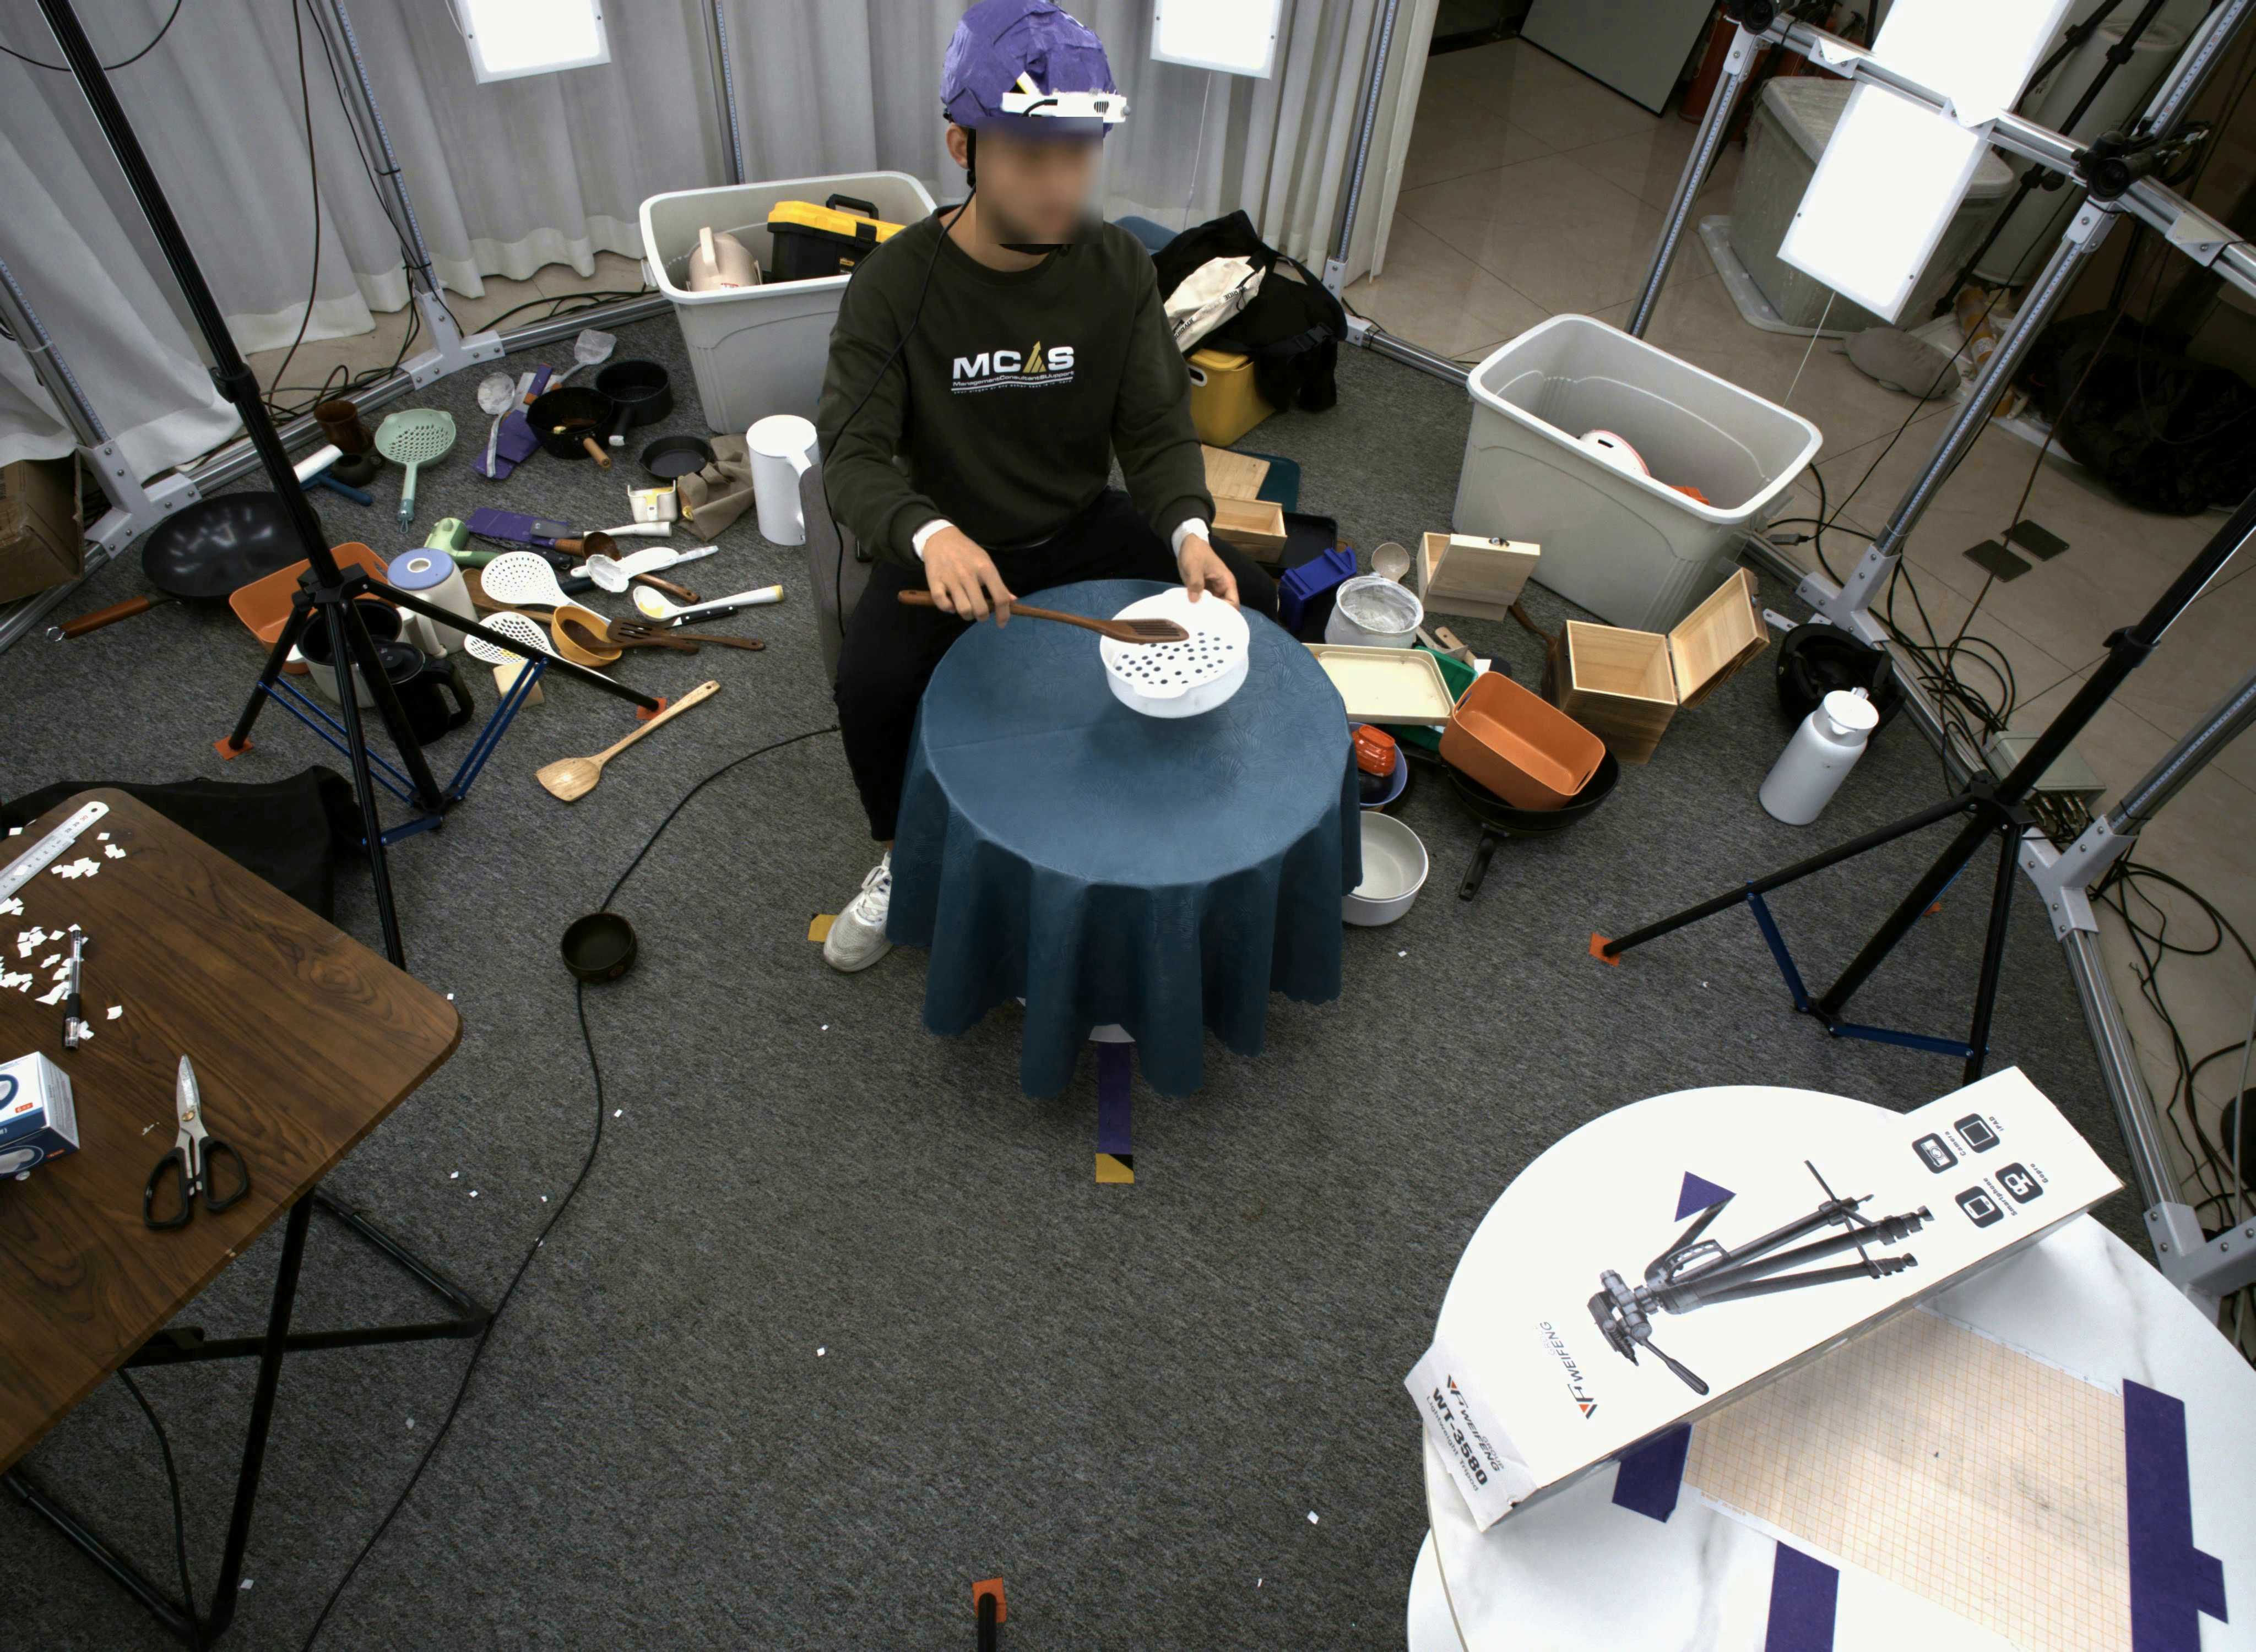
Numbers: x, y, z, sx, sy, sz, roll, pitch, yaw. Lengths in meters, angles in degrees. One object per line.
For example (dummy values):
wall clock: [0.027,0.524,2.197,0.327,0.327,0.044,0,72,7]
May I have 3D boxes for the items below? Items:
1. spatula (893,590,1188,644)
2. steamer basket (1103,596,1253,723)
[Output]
spatula: [-0.106,-0.266,1.636,0.383,0.023,0.088,4,28,-22]
steamer basket: [0.069,-0.222,1.739,0.202,0.067,0.236,5,44,13]
